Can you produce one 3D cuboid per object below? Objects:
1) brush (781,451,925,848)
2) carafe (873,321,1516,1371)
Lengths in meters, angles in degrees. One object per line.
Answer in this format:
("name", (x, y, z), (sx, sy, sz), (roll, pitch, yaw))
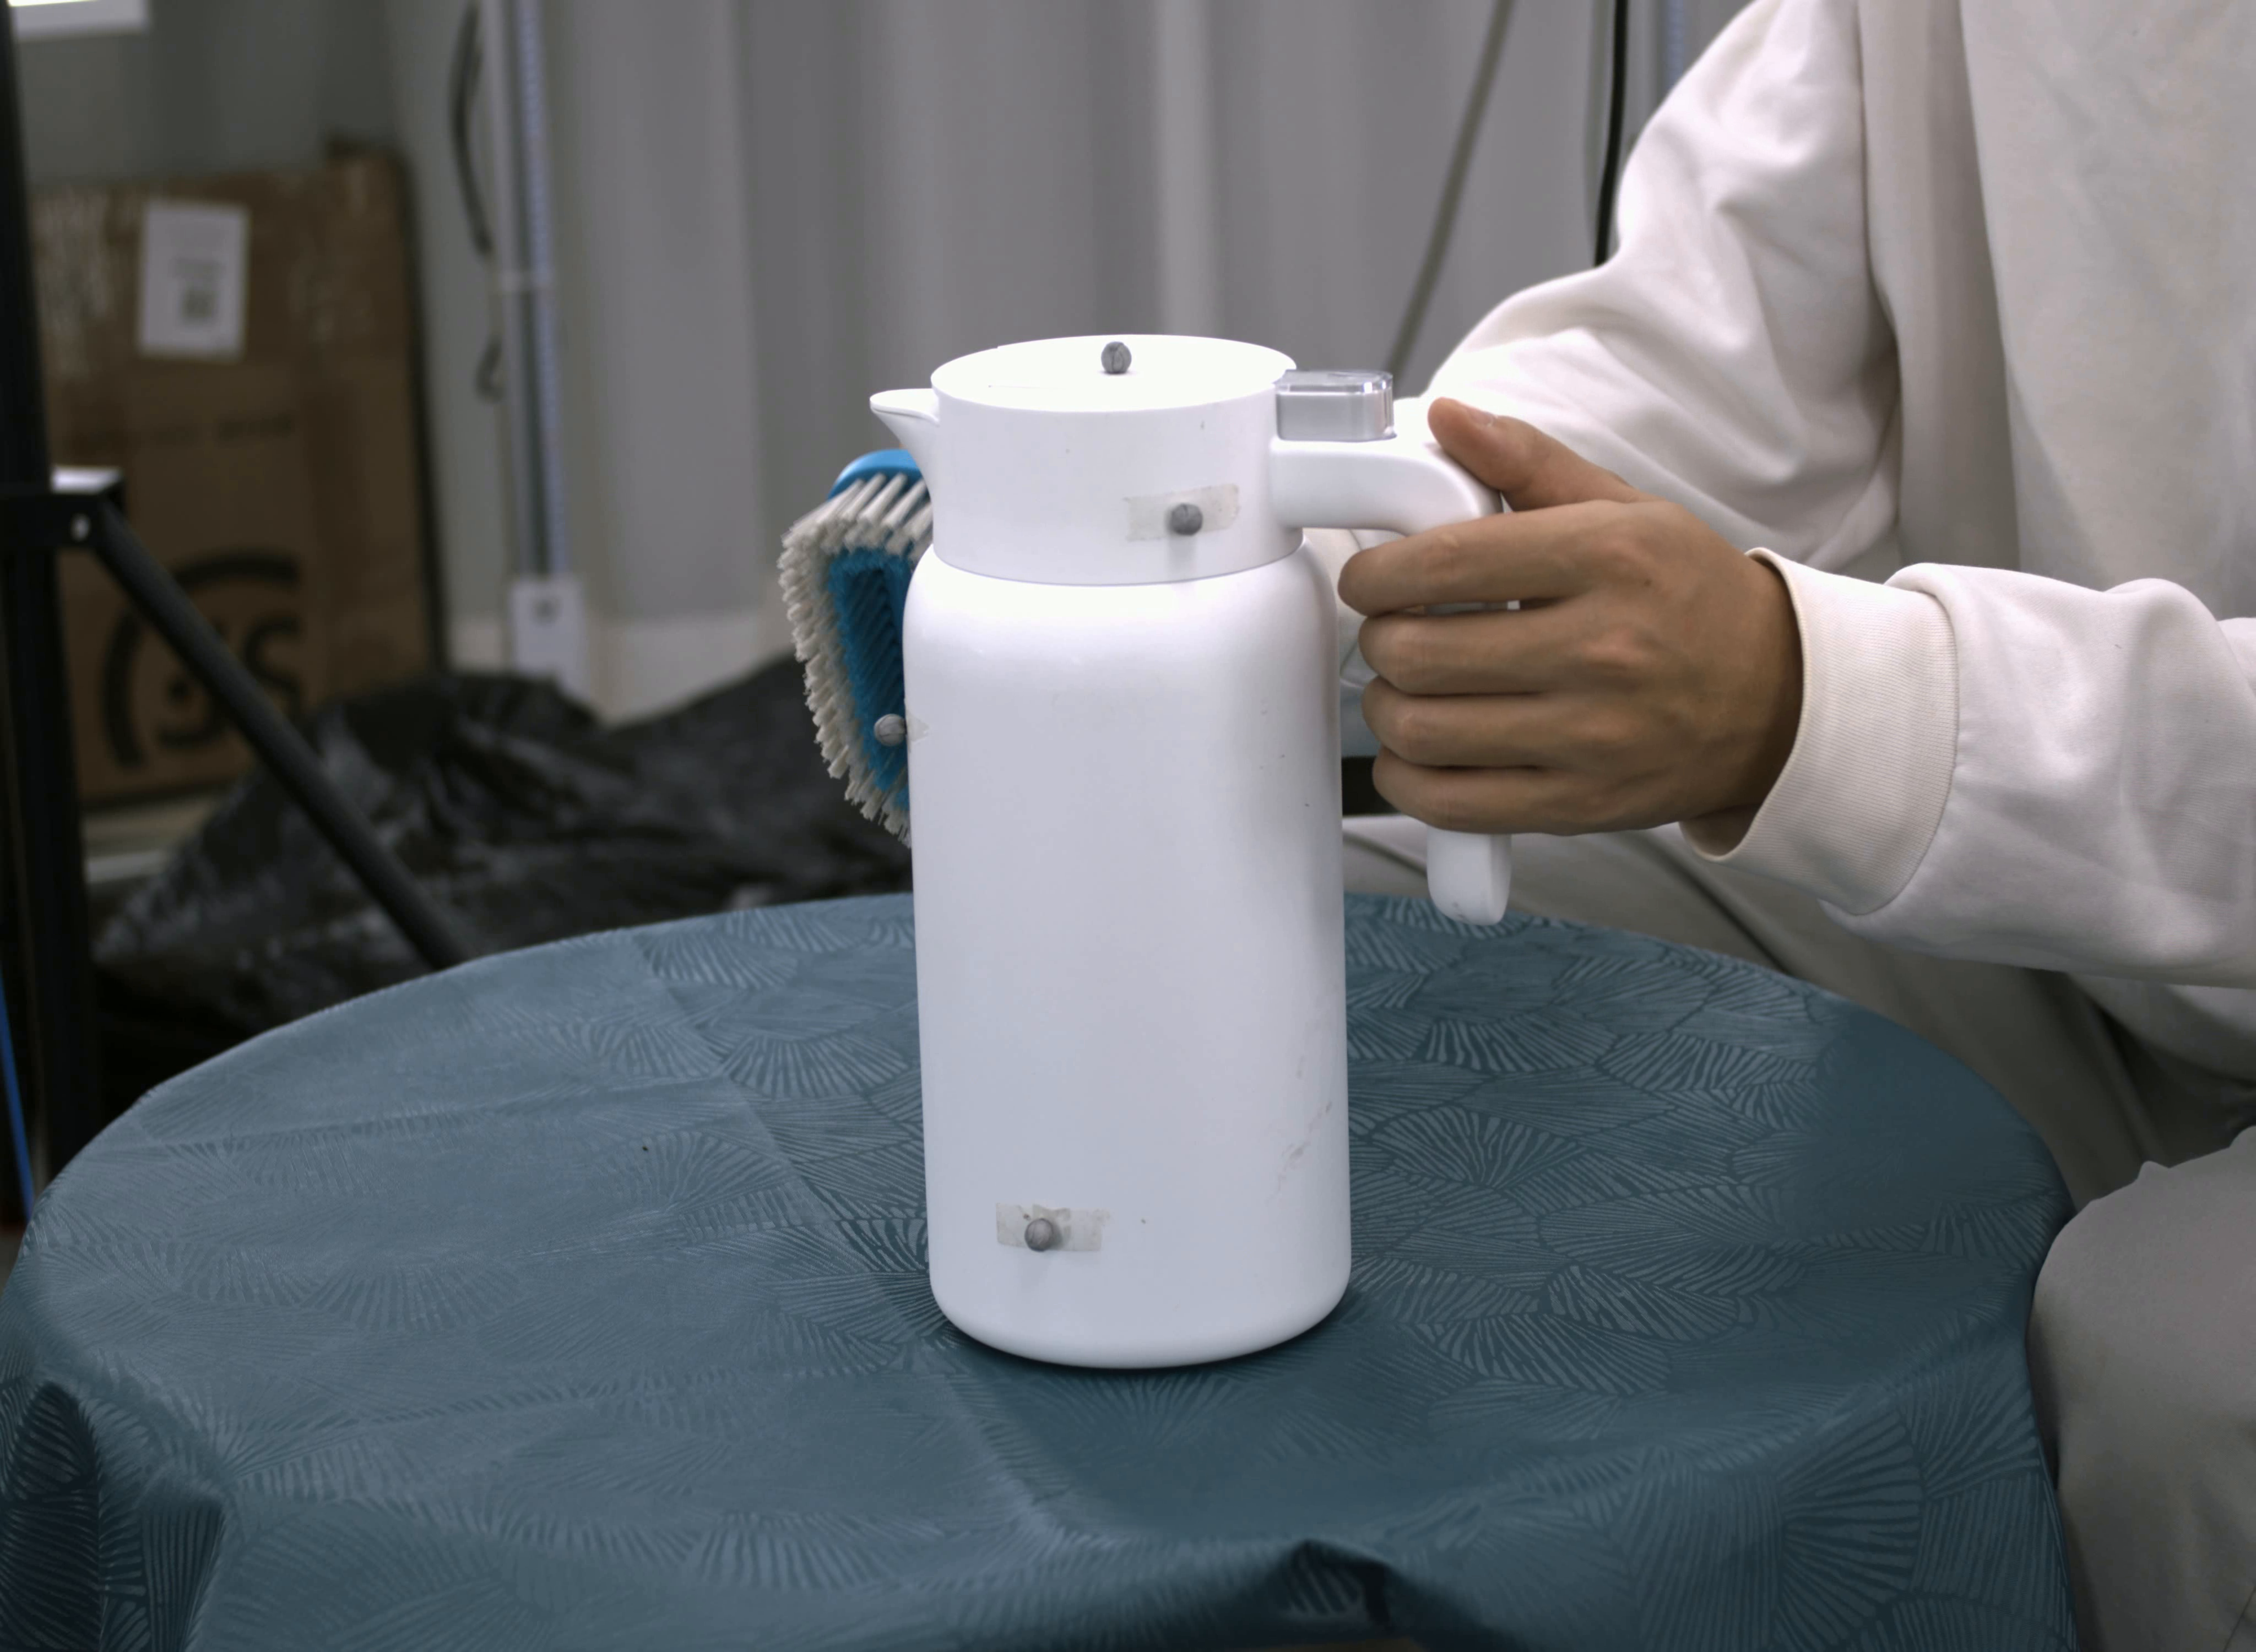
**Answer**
("brush", (-0.045, -0.057, 1.551), (0.085, 0.140, 0.063), (9, 47, 21))
("carafe", (0.018, 0.006, 1.432), (0.174, 0.269, 0.122), (3, 14, 16))
